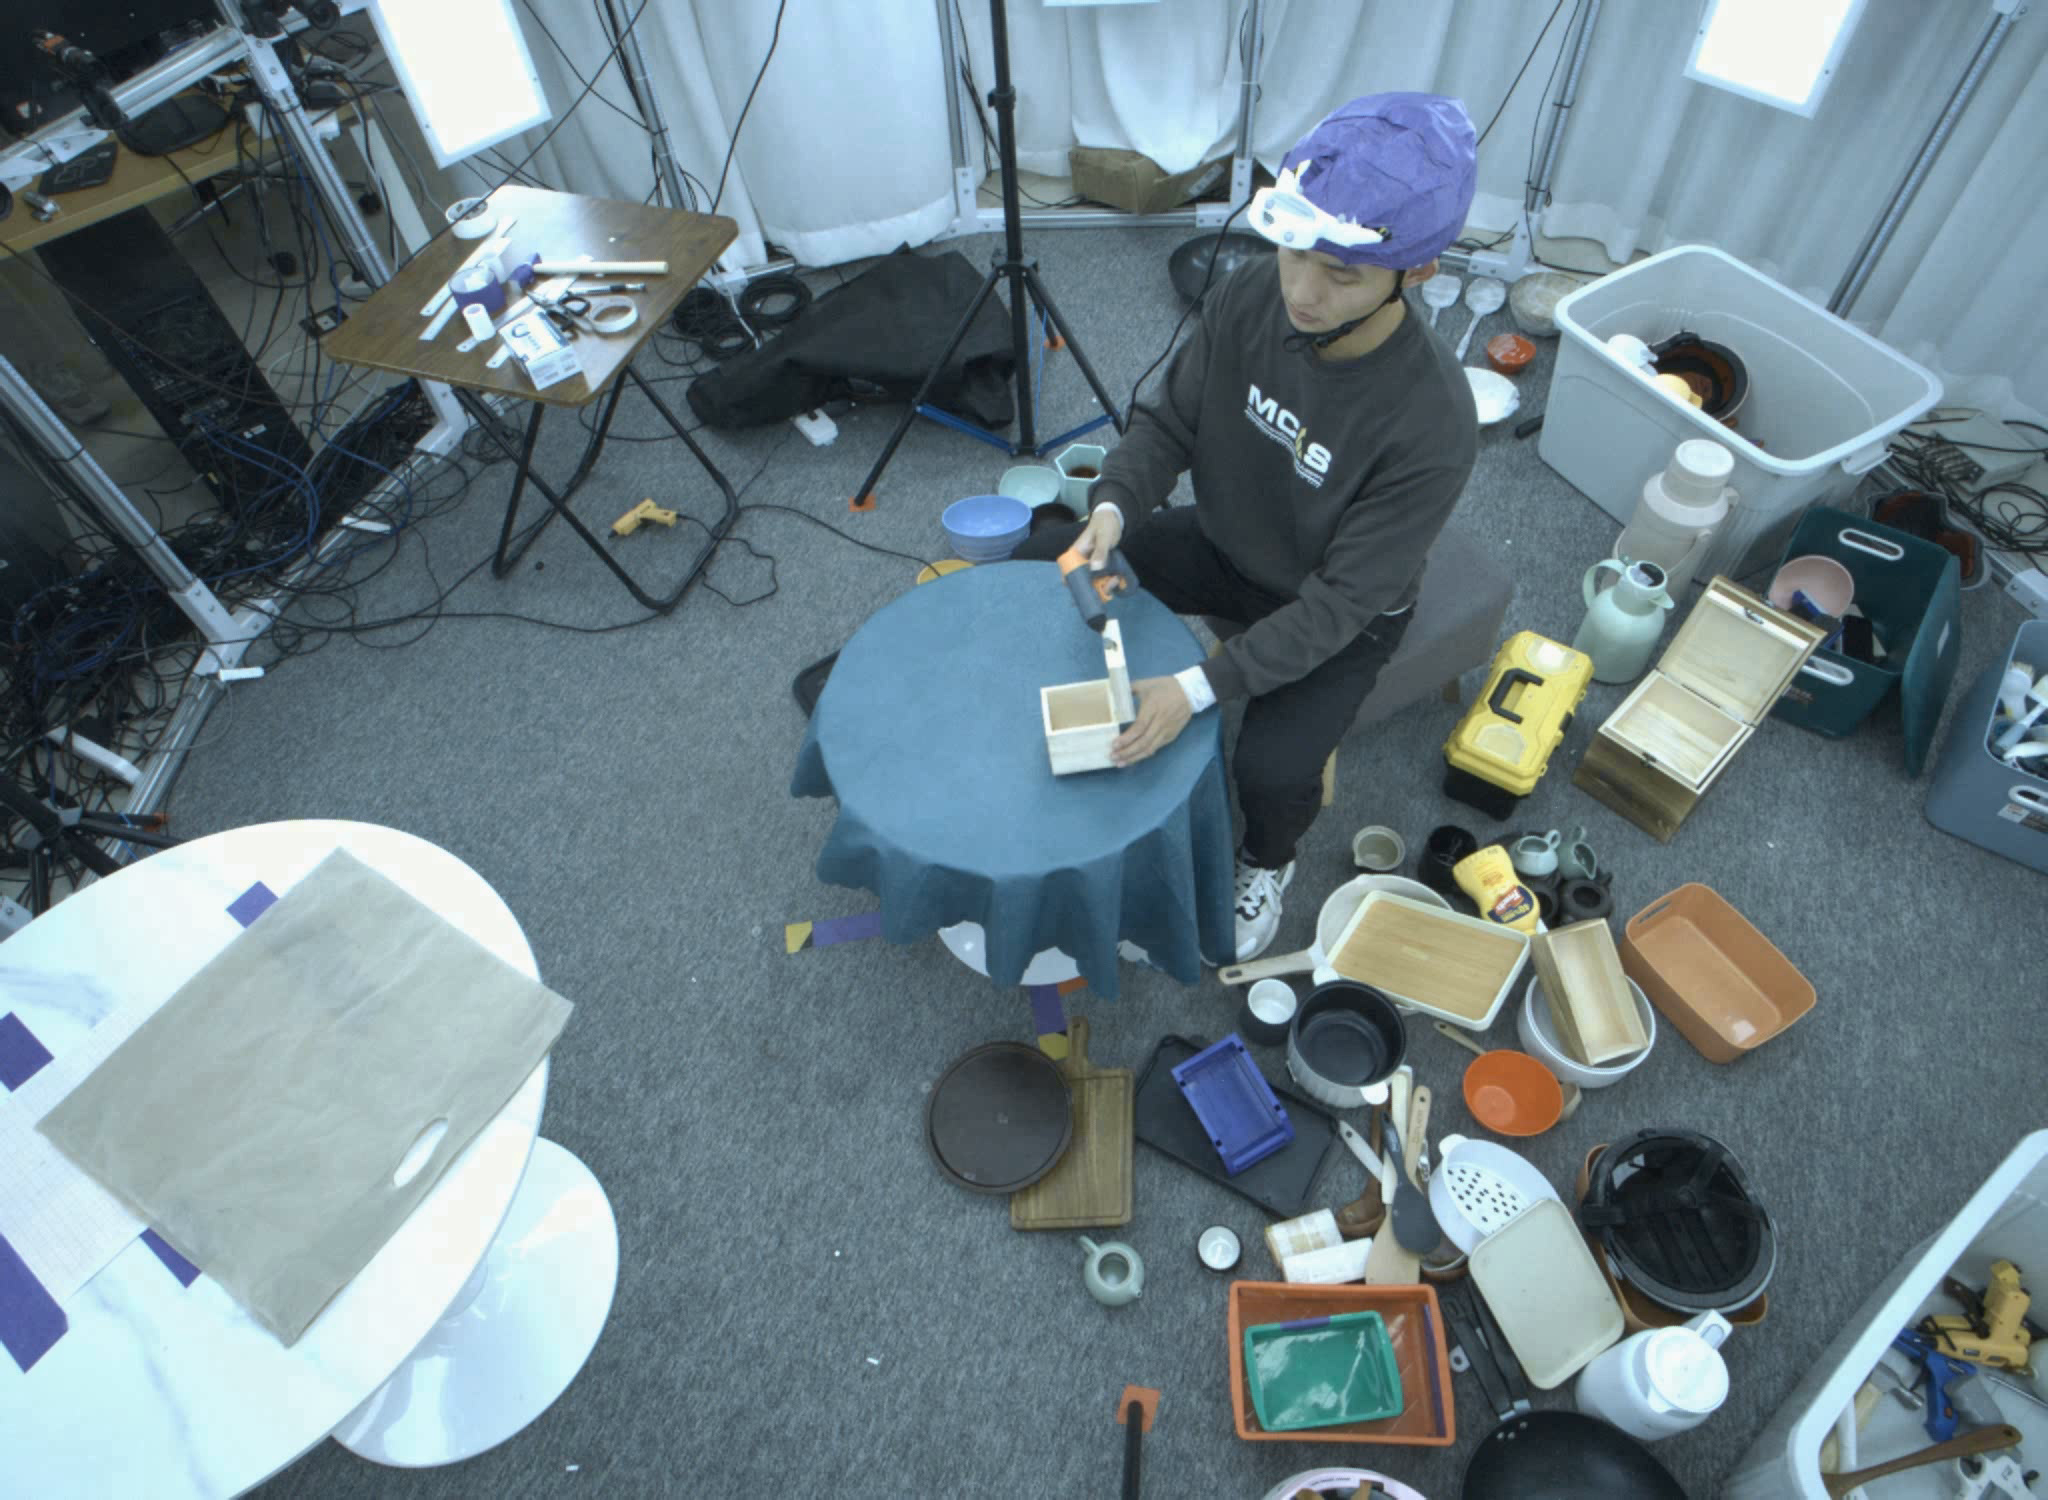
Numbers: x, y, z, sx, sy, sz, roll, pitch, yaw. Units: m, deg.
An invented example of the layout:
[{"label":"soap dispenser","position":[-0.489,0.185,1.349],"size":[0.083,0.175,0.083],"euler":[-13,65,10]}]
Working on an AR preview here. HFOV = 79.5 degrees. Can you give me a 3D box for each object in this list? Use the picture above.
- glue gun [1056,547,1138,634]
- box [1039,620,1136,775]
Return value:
[{"label":"glue gun","position":[0.102,-0.225,1.688],"size":[0.118,0.040,0.141],"euler":[59,36,-3]},{"label":"box","position":[0.085,-0.072,1.709],"size":[0.134,0.187,0.101],"euler":[-9,45,1]}]
